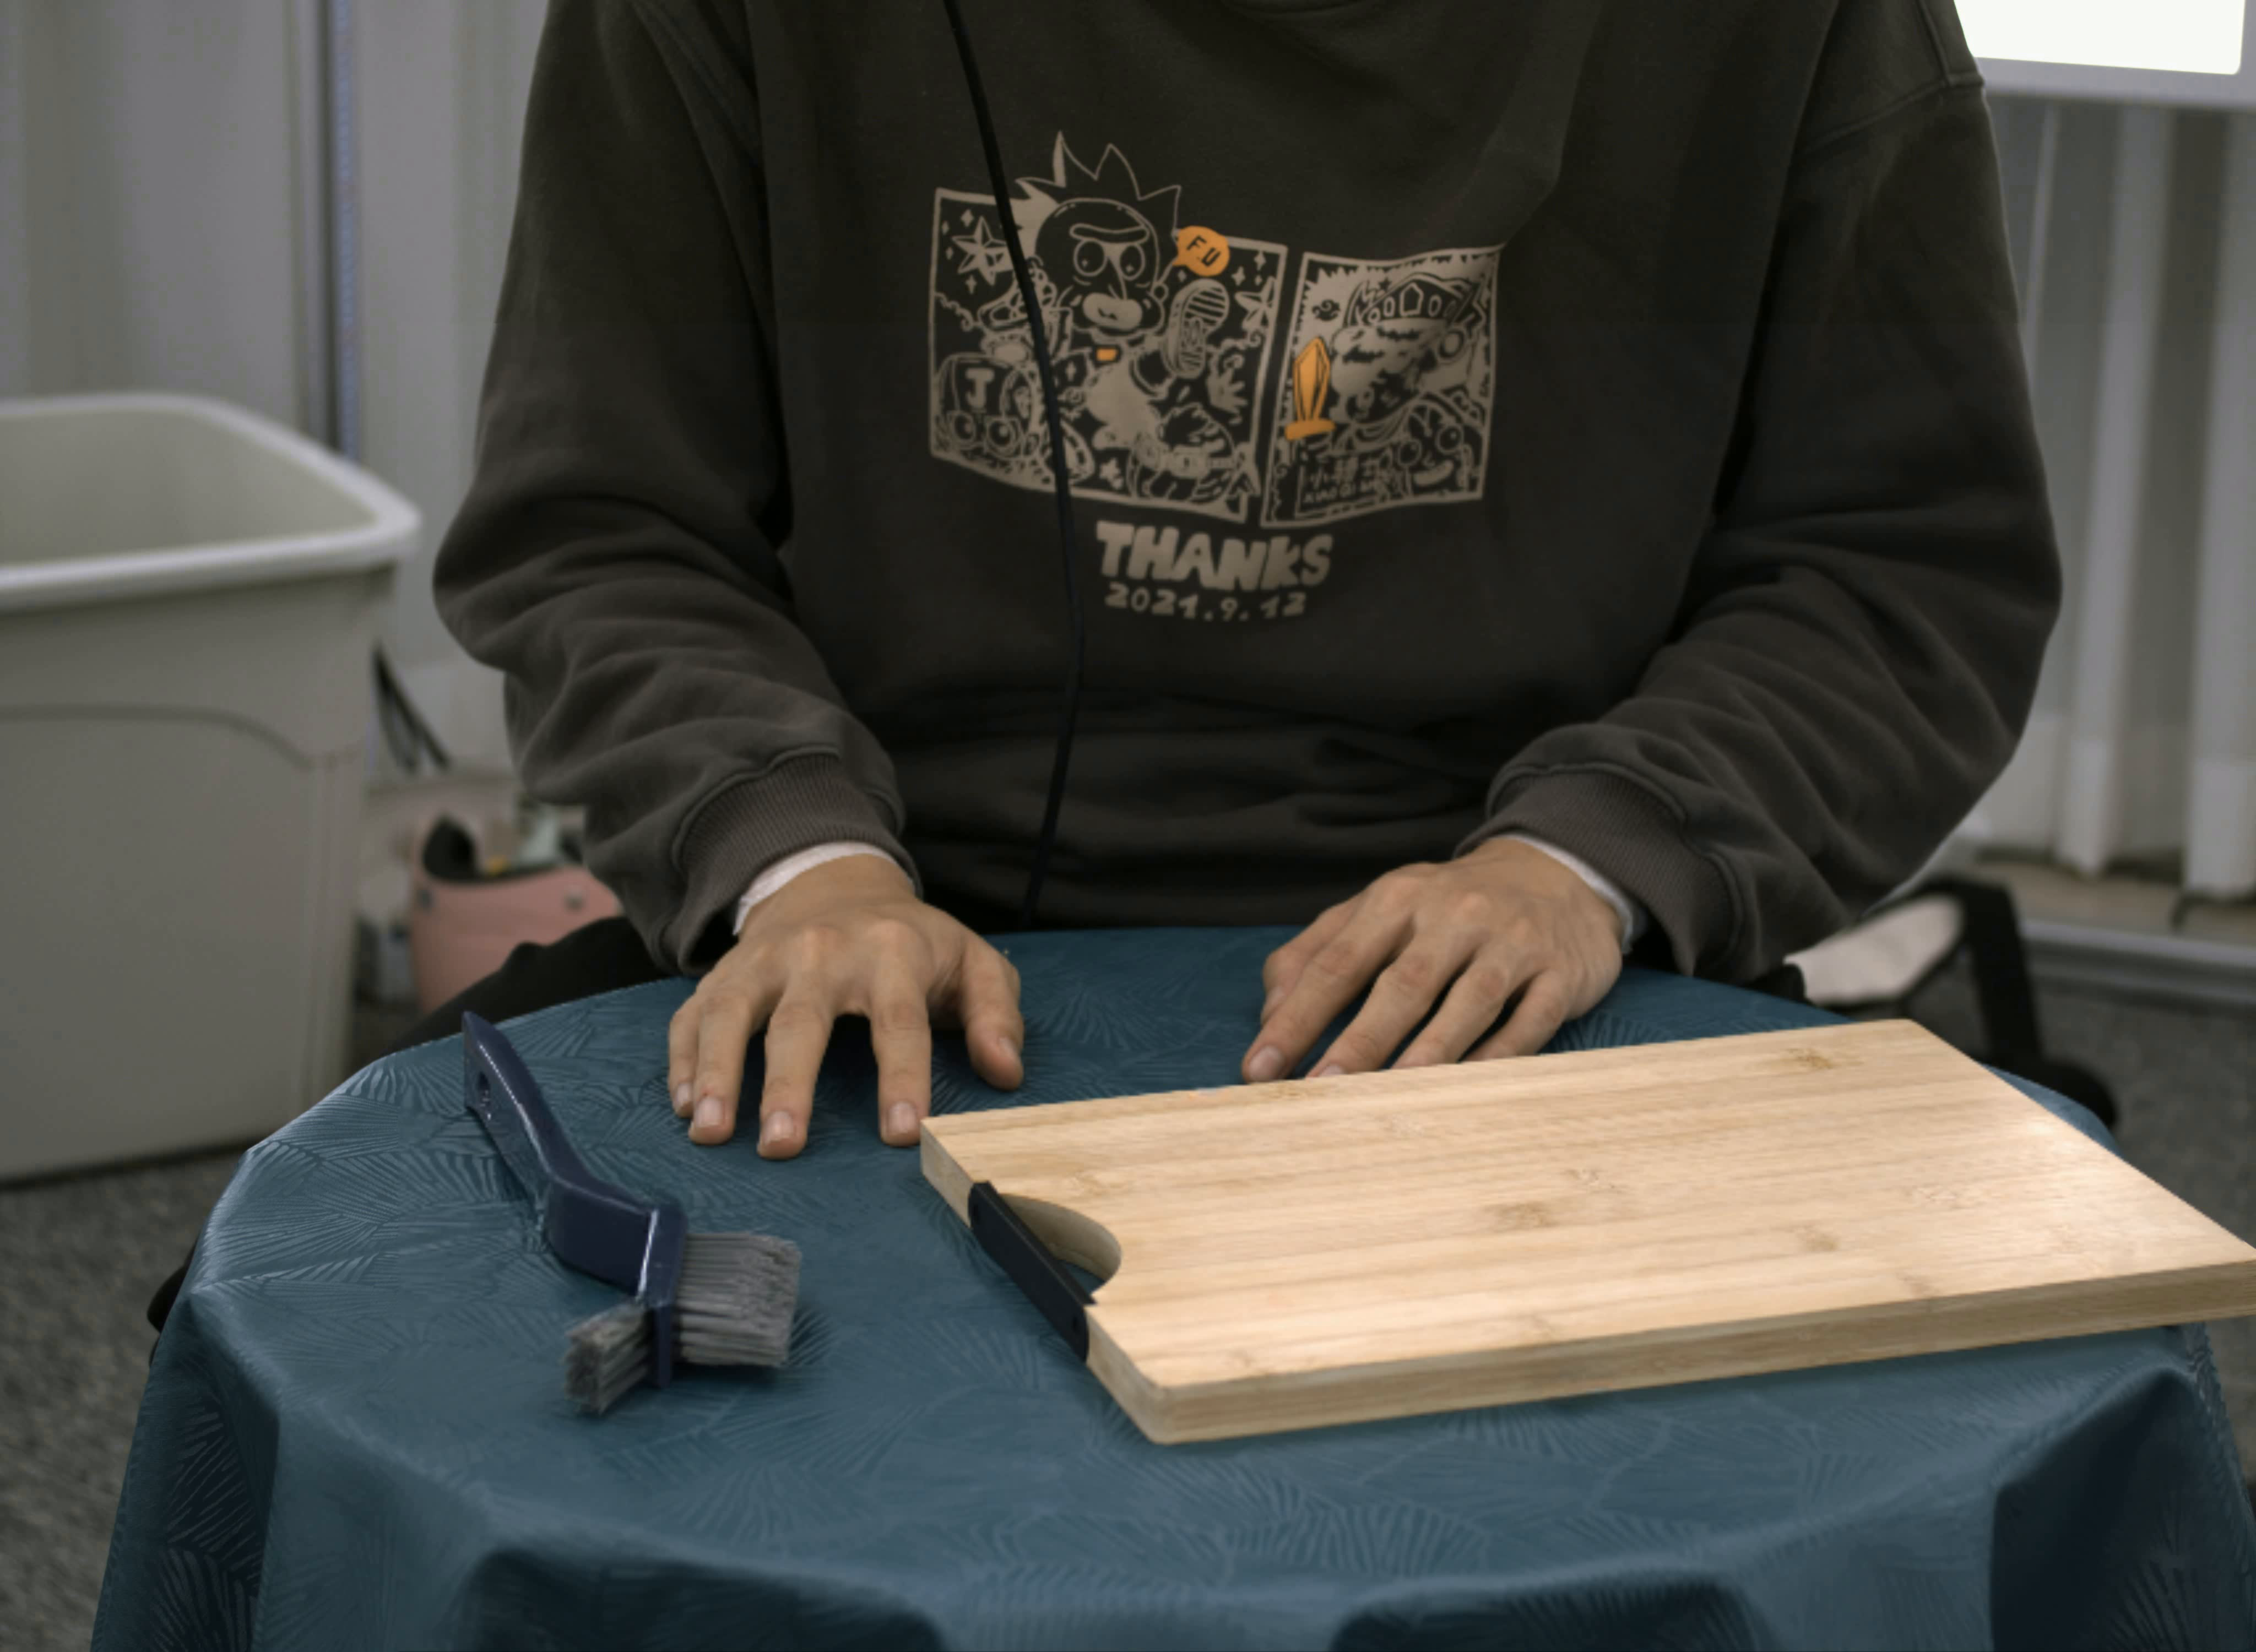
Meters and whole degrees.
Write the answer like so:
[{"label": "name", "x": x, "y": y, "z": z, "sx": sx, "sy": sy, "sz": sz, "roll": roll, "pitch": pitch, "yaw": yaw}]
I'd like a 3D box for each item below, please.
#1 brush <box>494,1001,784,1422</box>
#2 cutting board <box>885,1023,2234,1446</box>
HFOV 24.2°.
[{"label": "brush", "x": -0.174, "y": 0.111, "z": 1.573, "sx": 0.096, "sy": 0.034, "sz": 0.270, "roll": -7, "pitch": 18, "yaw": -24}, {"label": "cutting board", "x": 0.125, "y": 0.118, "z": 1.586, "sx": 0.349, "sy": 0.024, "sz": 0.248, "roll": -5, "pitch": 16, "yaw": -19}]
